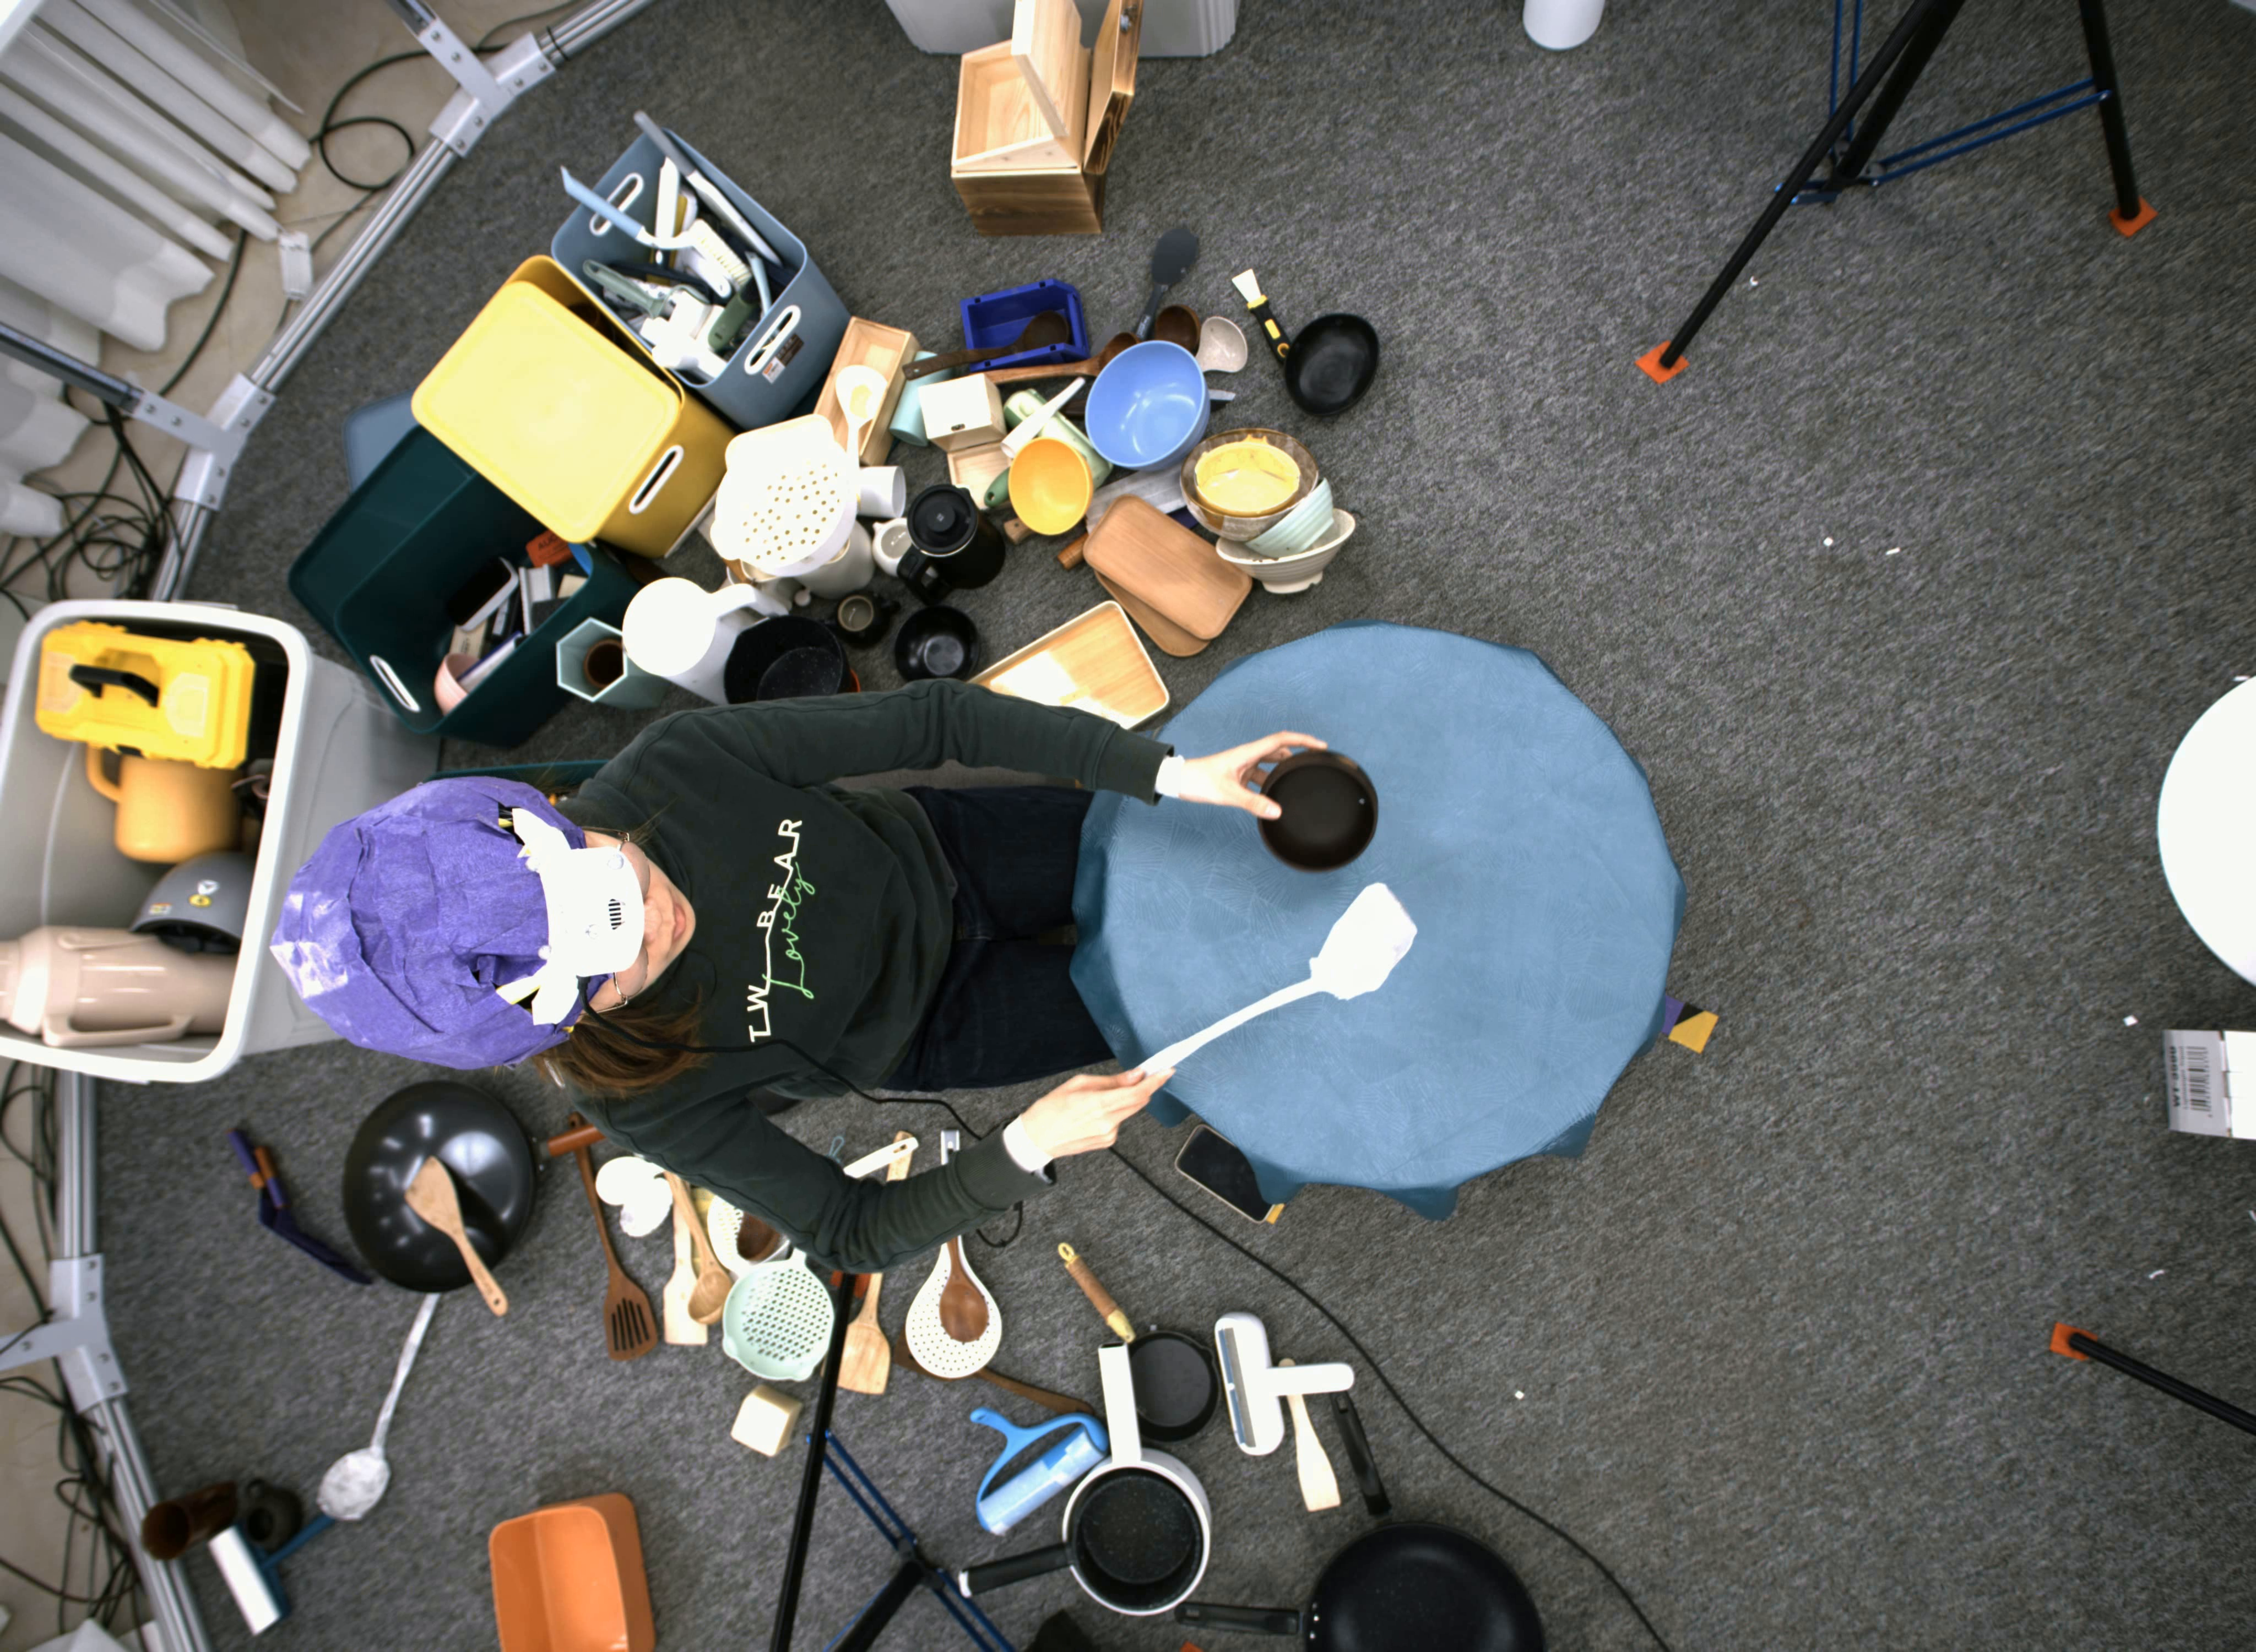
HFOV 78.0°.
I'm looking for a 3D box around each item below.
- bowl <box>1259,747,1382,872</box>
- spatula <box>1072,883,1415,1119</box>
[{"bbox_3d":[0.187,-0.022,1.340,0.118,0.068,0.120,3,112,8],"label":"bowl"},{"bbox_3d":[0.098,0.173,1.266,0.367,0.045,0.096,-30,37,7],"label":"spatula"}]
